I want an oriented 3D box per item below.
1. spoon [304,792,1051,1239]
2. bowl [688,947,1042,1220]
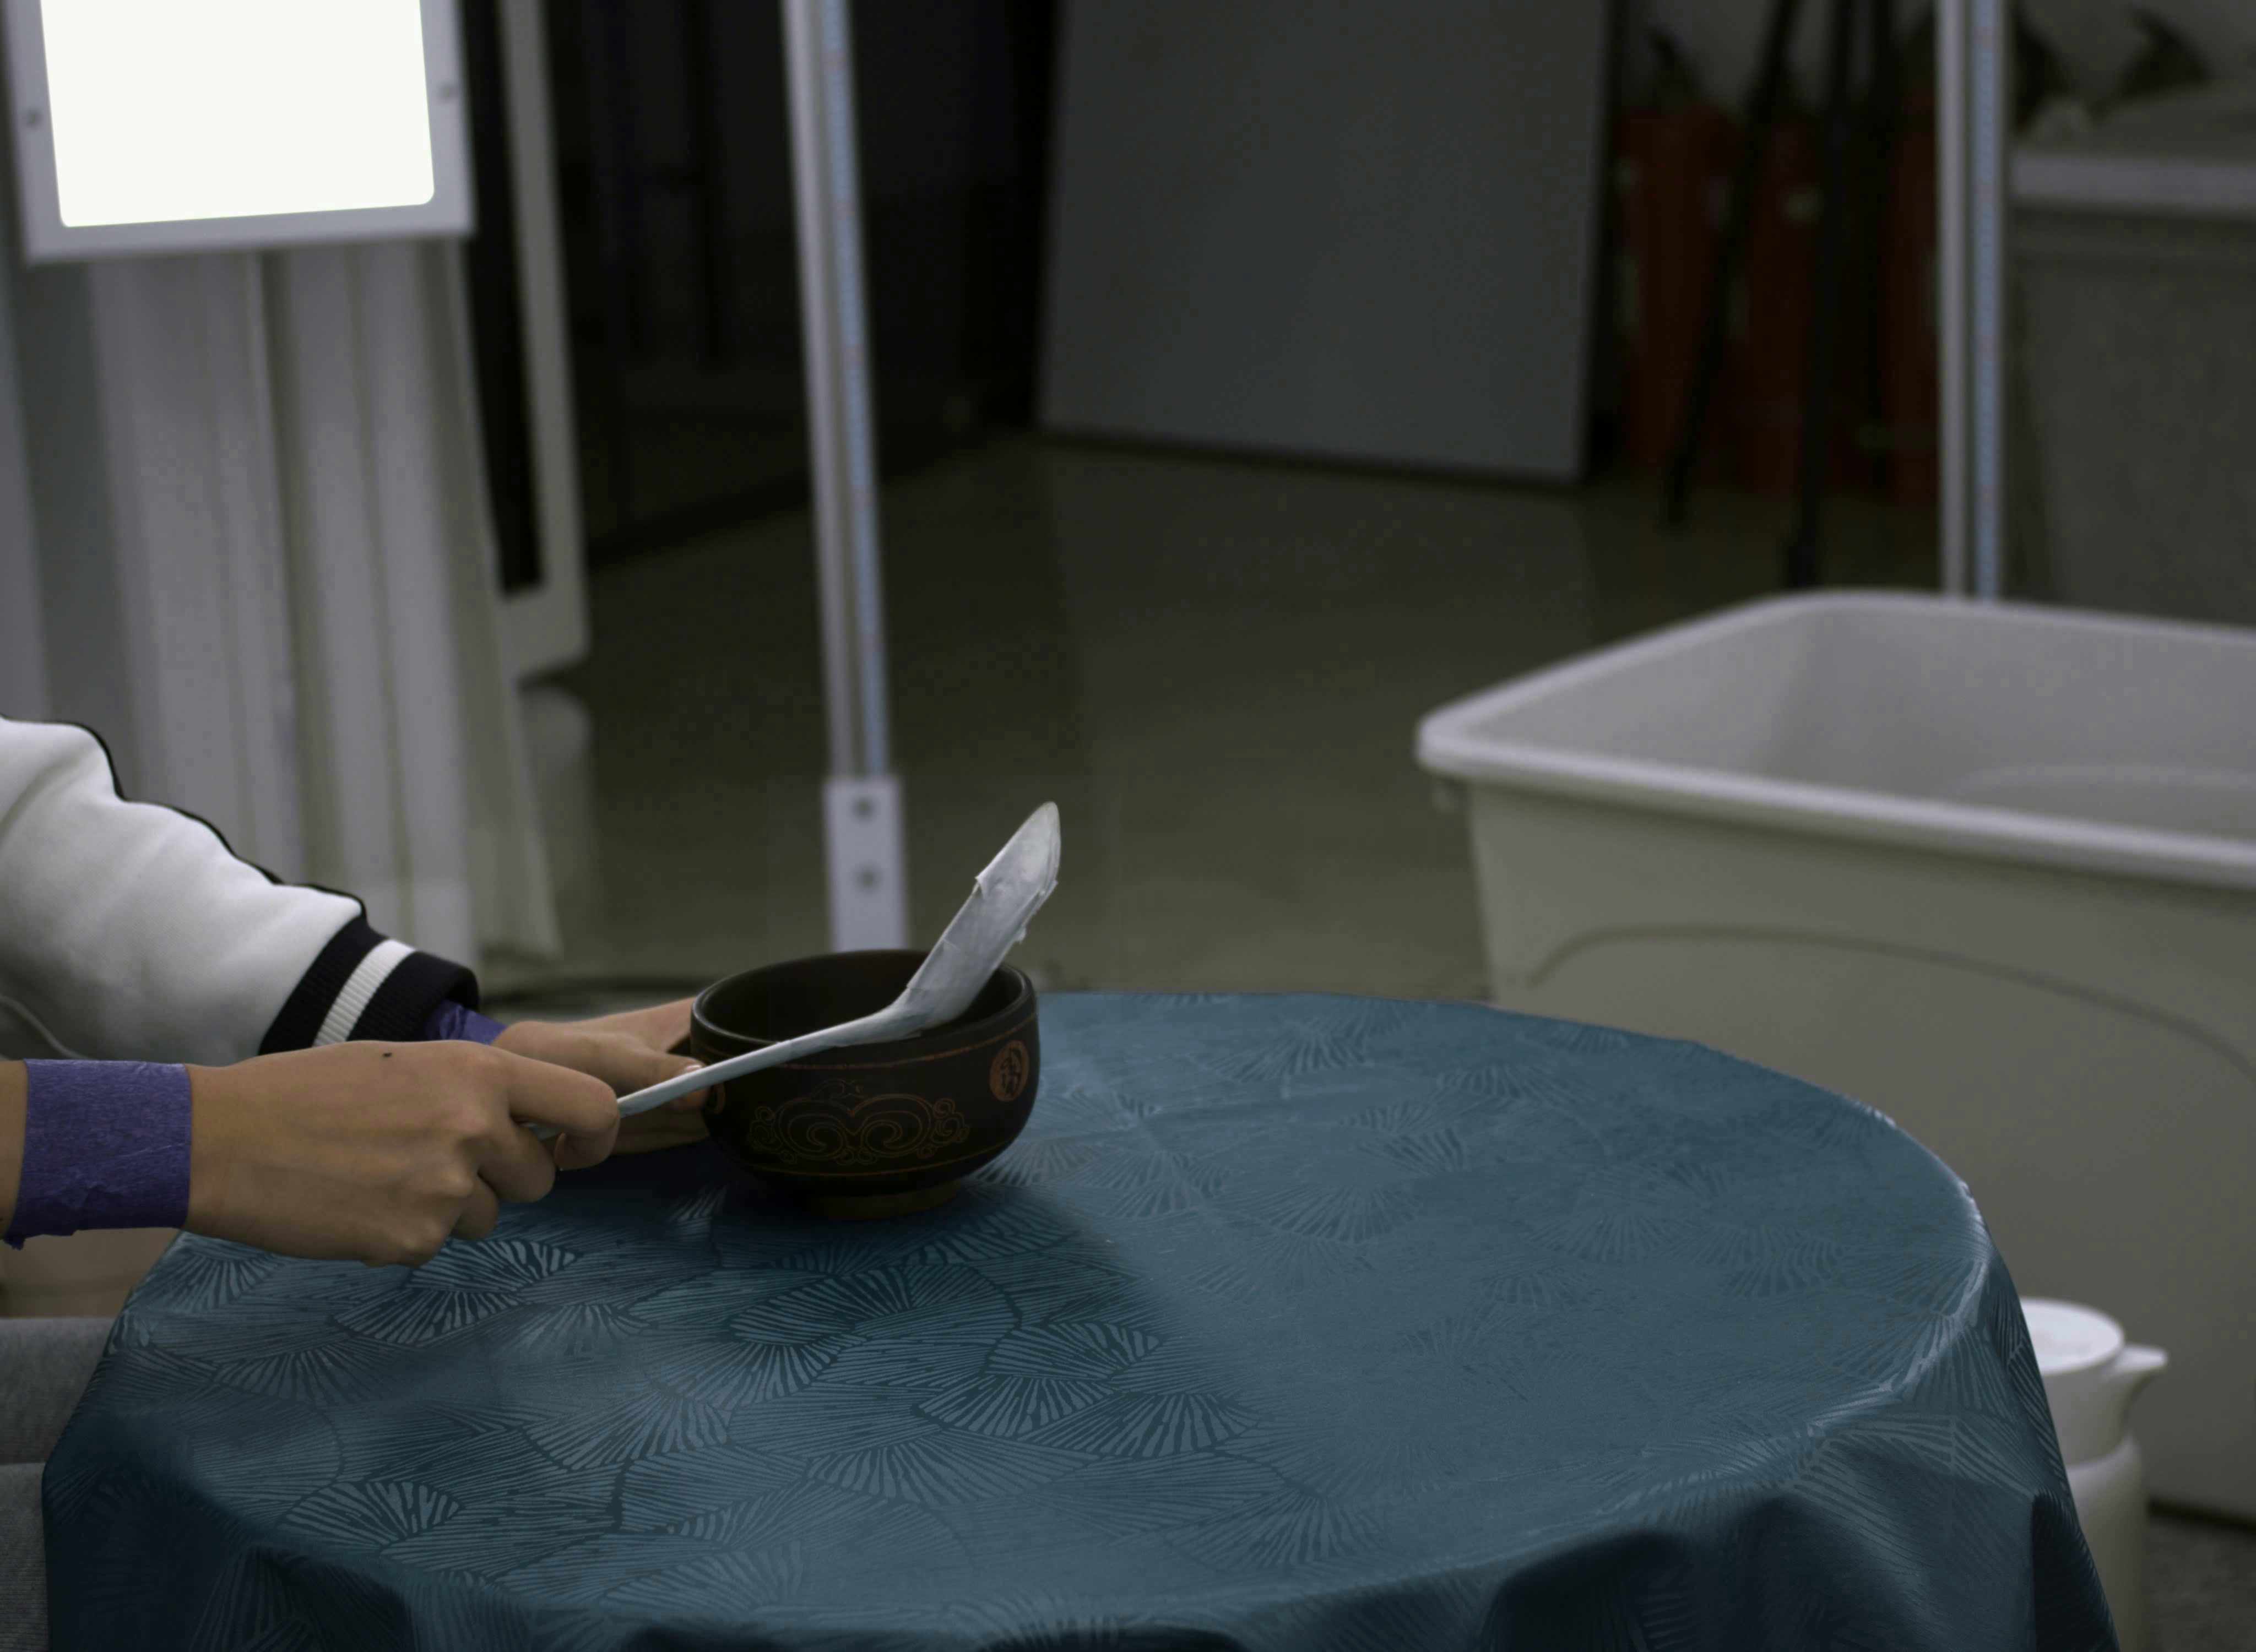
[{"bbox_3d":[-0.139,0.062,1.710,0.272,0.060,0.101,-19,-26,-18],"label":"spoon"},{"bbox_3d":[-0.085,0.088,1.778,0.116,0.070,0.118,-4,13,0],"label":"bowl"}]
